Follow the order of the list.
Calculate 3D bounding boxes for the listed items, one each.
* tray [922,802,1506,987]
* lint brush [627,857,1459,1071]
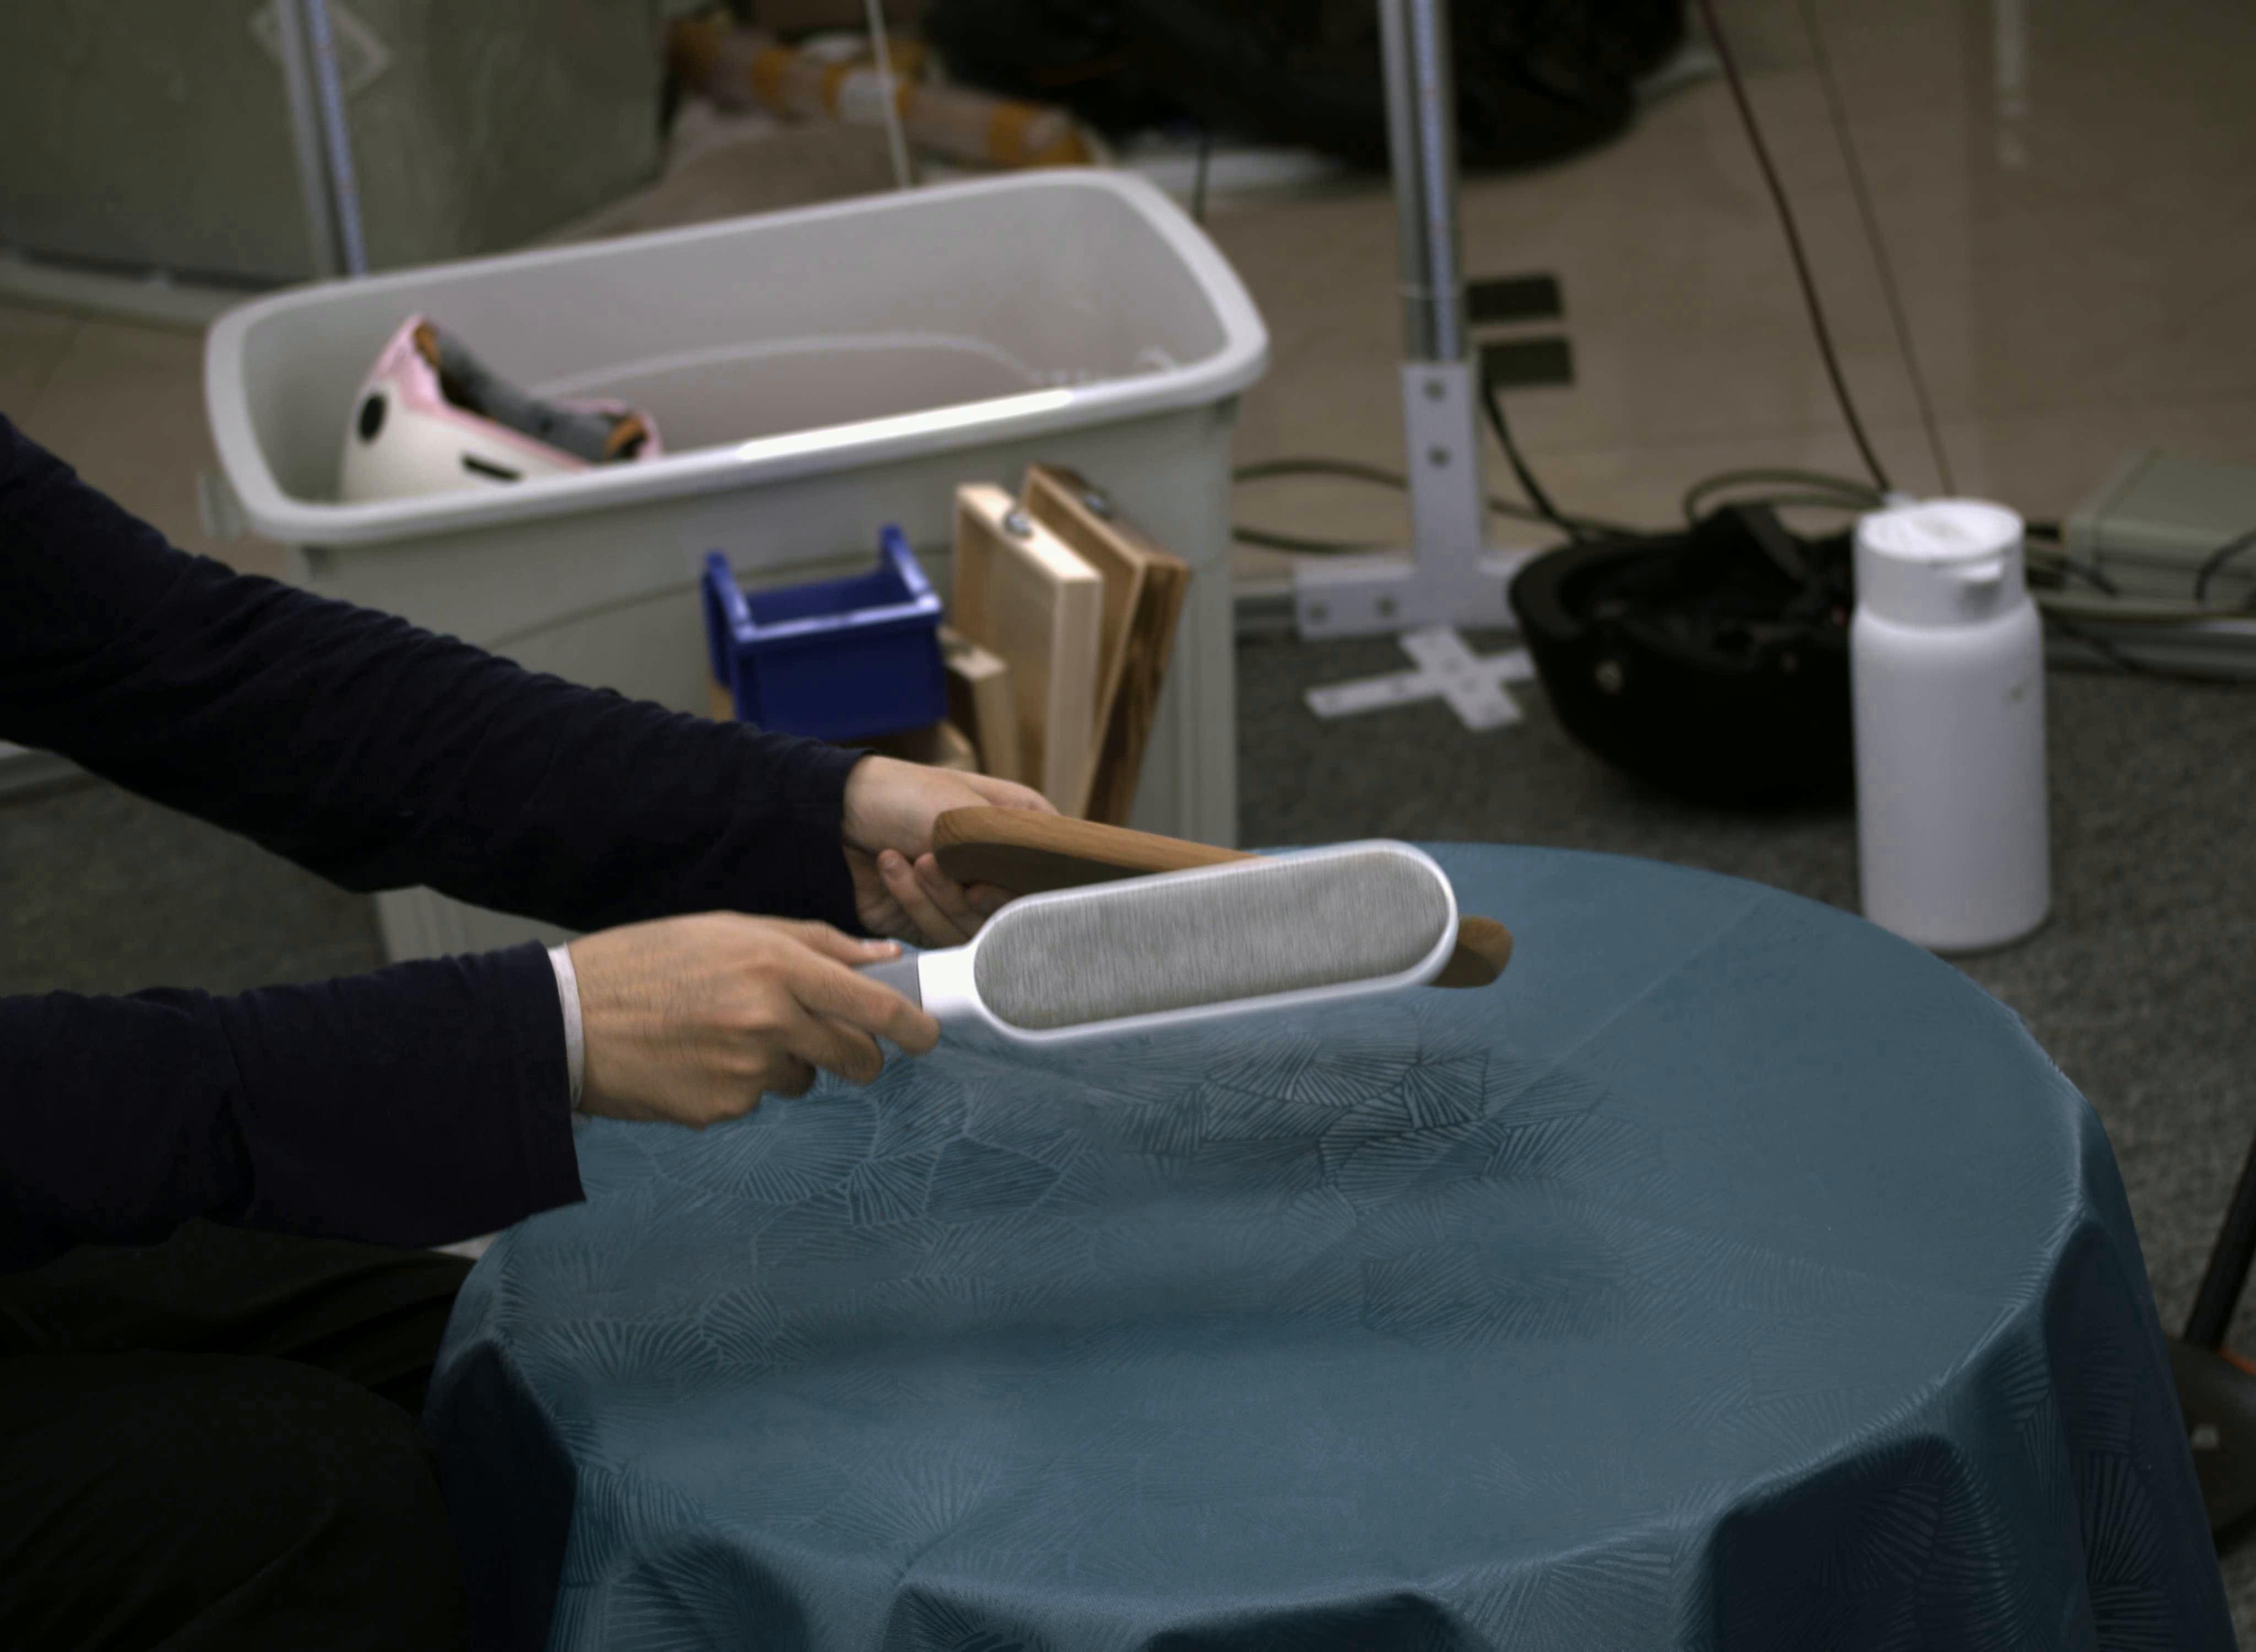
[{"bbox_3d":[0.032,0.028,2.192,0.230,0.103,0.020,10,73,7],"label":"tray"},{"bbox_3d":[-0.032,0.056,2.062,0.308,0.059,0.021,-8,-14,7],"label":"lint brush"}]
